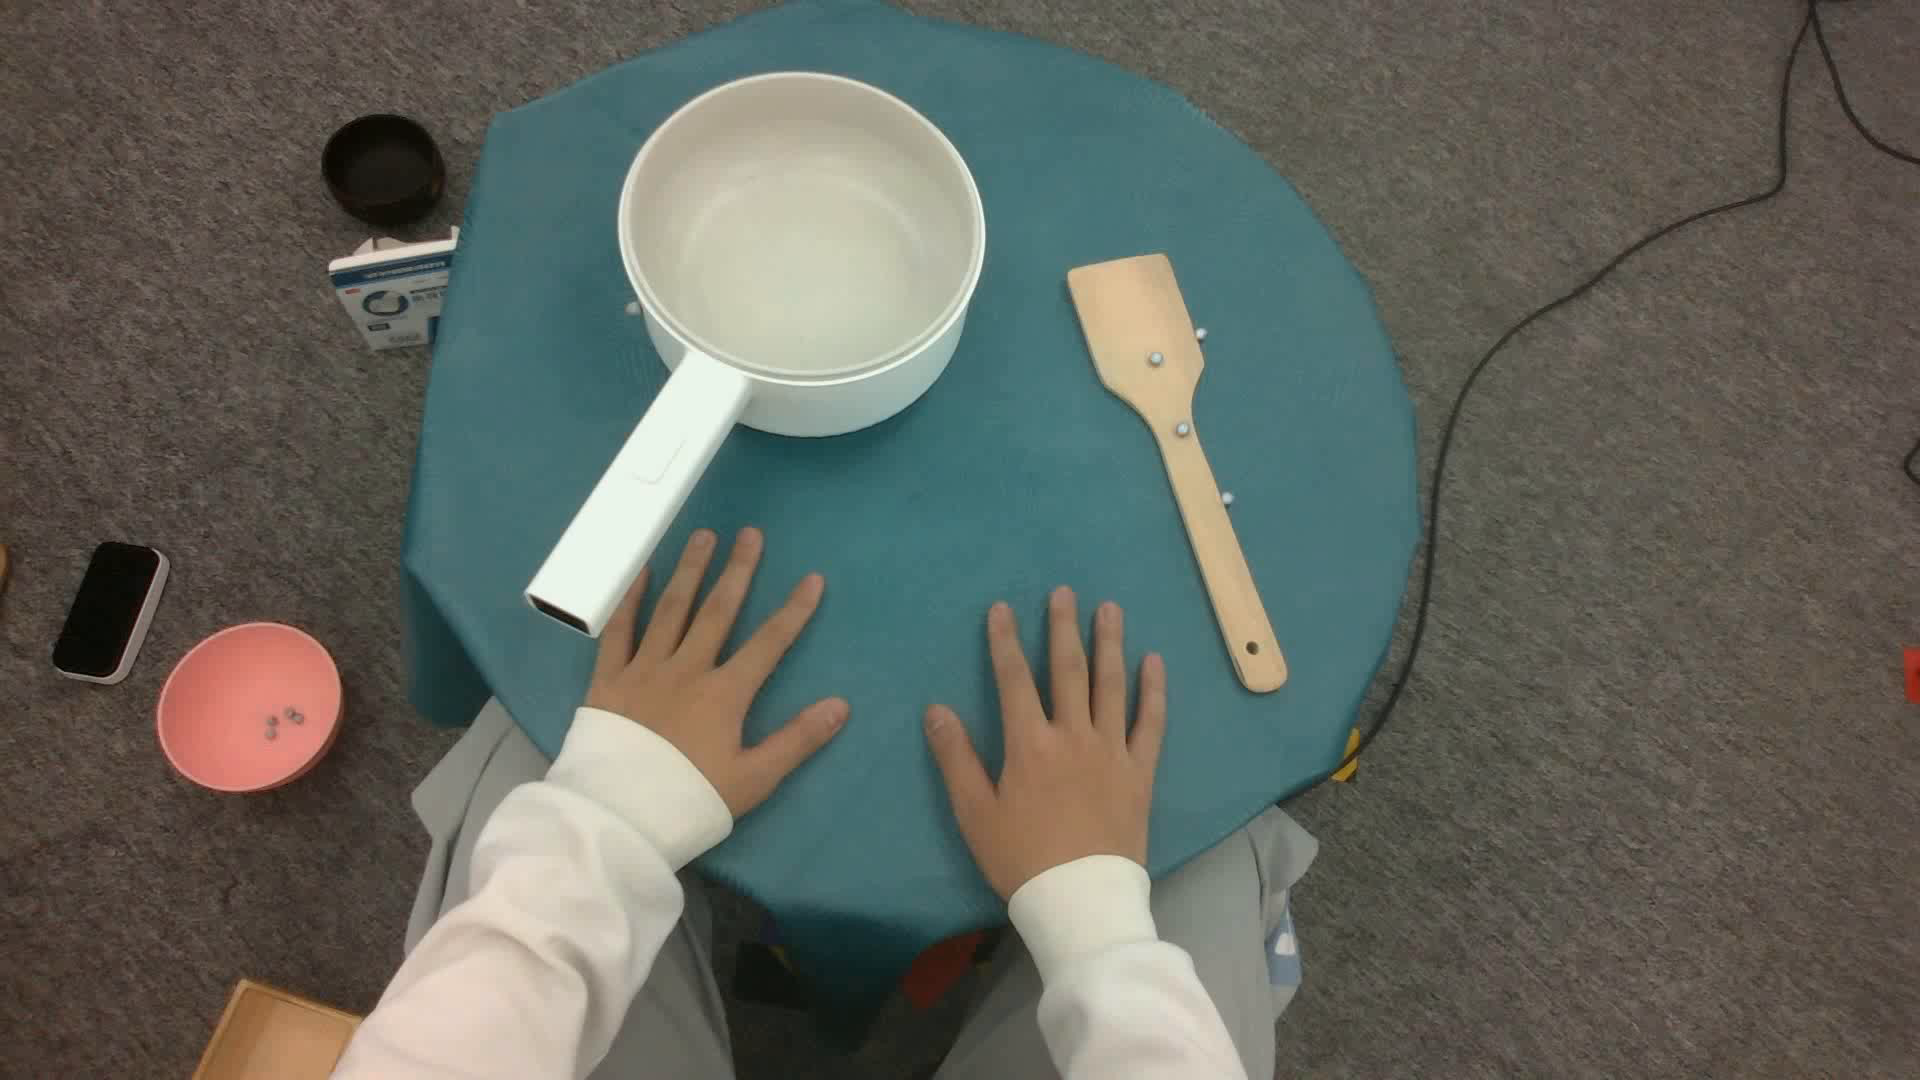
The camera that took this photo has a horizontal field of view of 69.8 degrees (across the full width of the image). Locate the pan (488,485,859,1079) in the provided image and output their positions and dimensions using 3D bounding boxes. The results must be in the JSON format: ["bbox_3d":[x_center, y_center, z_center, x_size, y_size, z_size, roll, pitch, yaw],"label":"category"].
[{"bbox_3d":[-0.174,0.135,0.794,0.201,0.101,0.356,8,55,6],"label":"pan"}]

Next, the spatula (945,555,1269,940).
[{"bbox_3d":[0.093,0.123,0.856,0.072,0.010,0.293,-25,57,-19],"label":"spatula"}]
